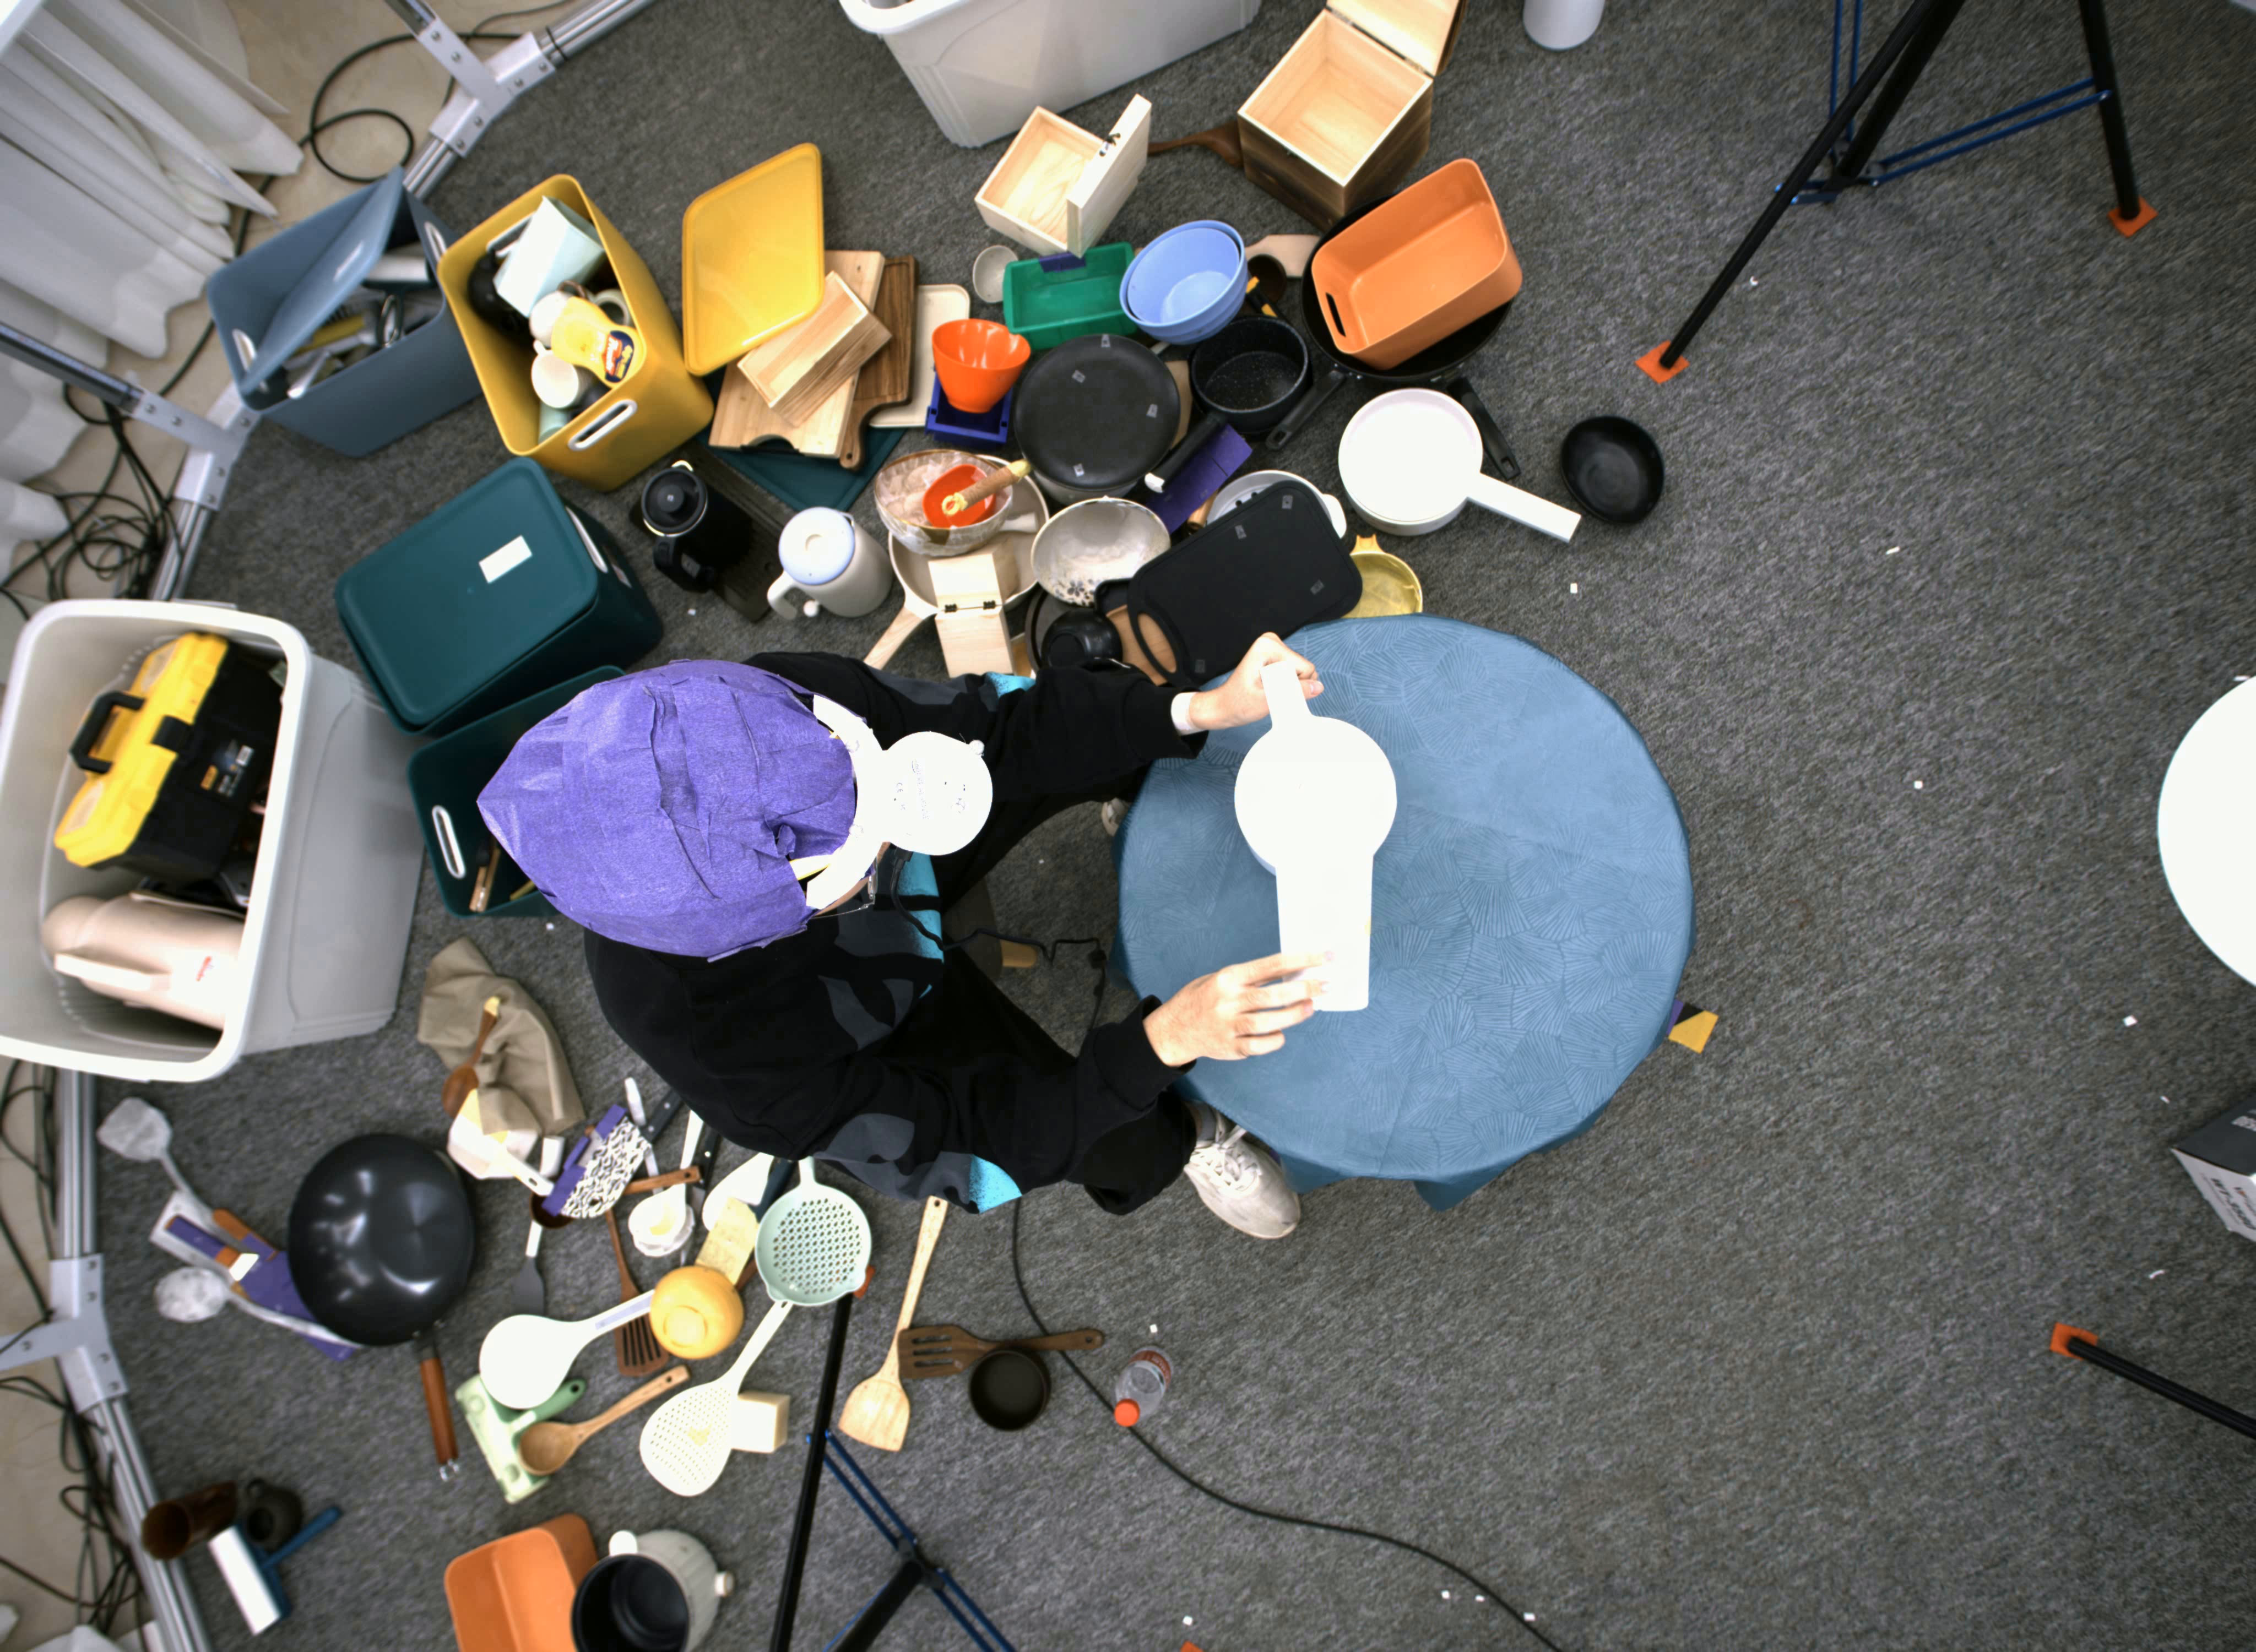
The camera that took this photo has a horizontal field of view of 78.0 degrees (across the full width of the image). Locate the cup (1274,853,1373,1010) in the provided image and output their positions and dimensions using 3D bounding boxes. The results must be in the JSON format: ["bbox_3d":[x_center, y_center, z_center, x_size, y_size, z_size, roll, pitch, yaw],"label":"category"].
[{"bbox_3d":[0.162,0.087,1.138,0.082,0.082,0.125,-1,86,10],"label":"cup"}]

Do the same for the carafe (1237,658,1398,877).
[{"bbox_3d":[0.174,-0.045,1.329,0.153,0.240,0.212,-15,87,6],"label":"carafe"}]
